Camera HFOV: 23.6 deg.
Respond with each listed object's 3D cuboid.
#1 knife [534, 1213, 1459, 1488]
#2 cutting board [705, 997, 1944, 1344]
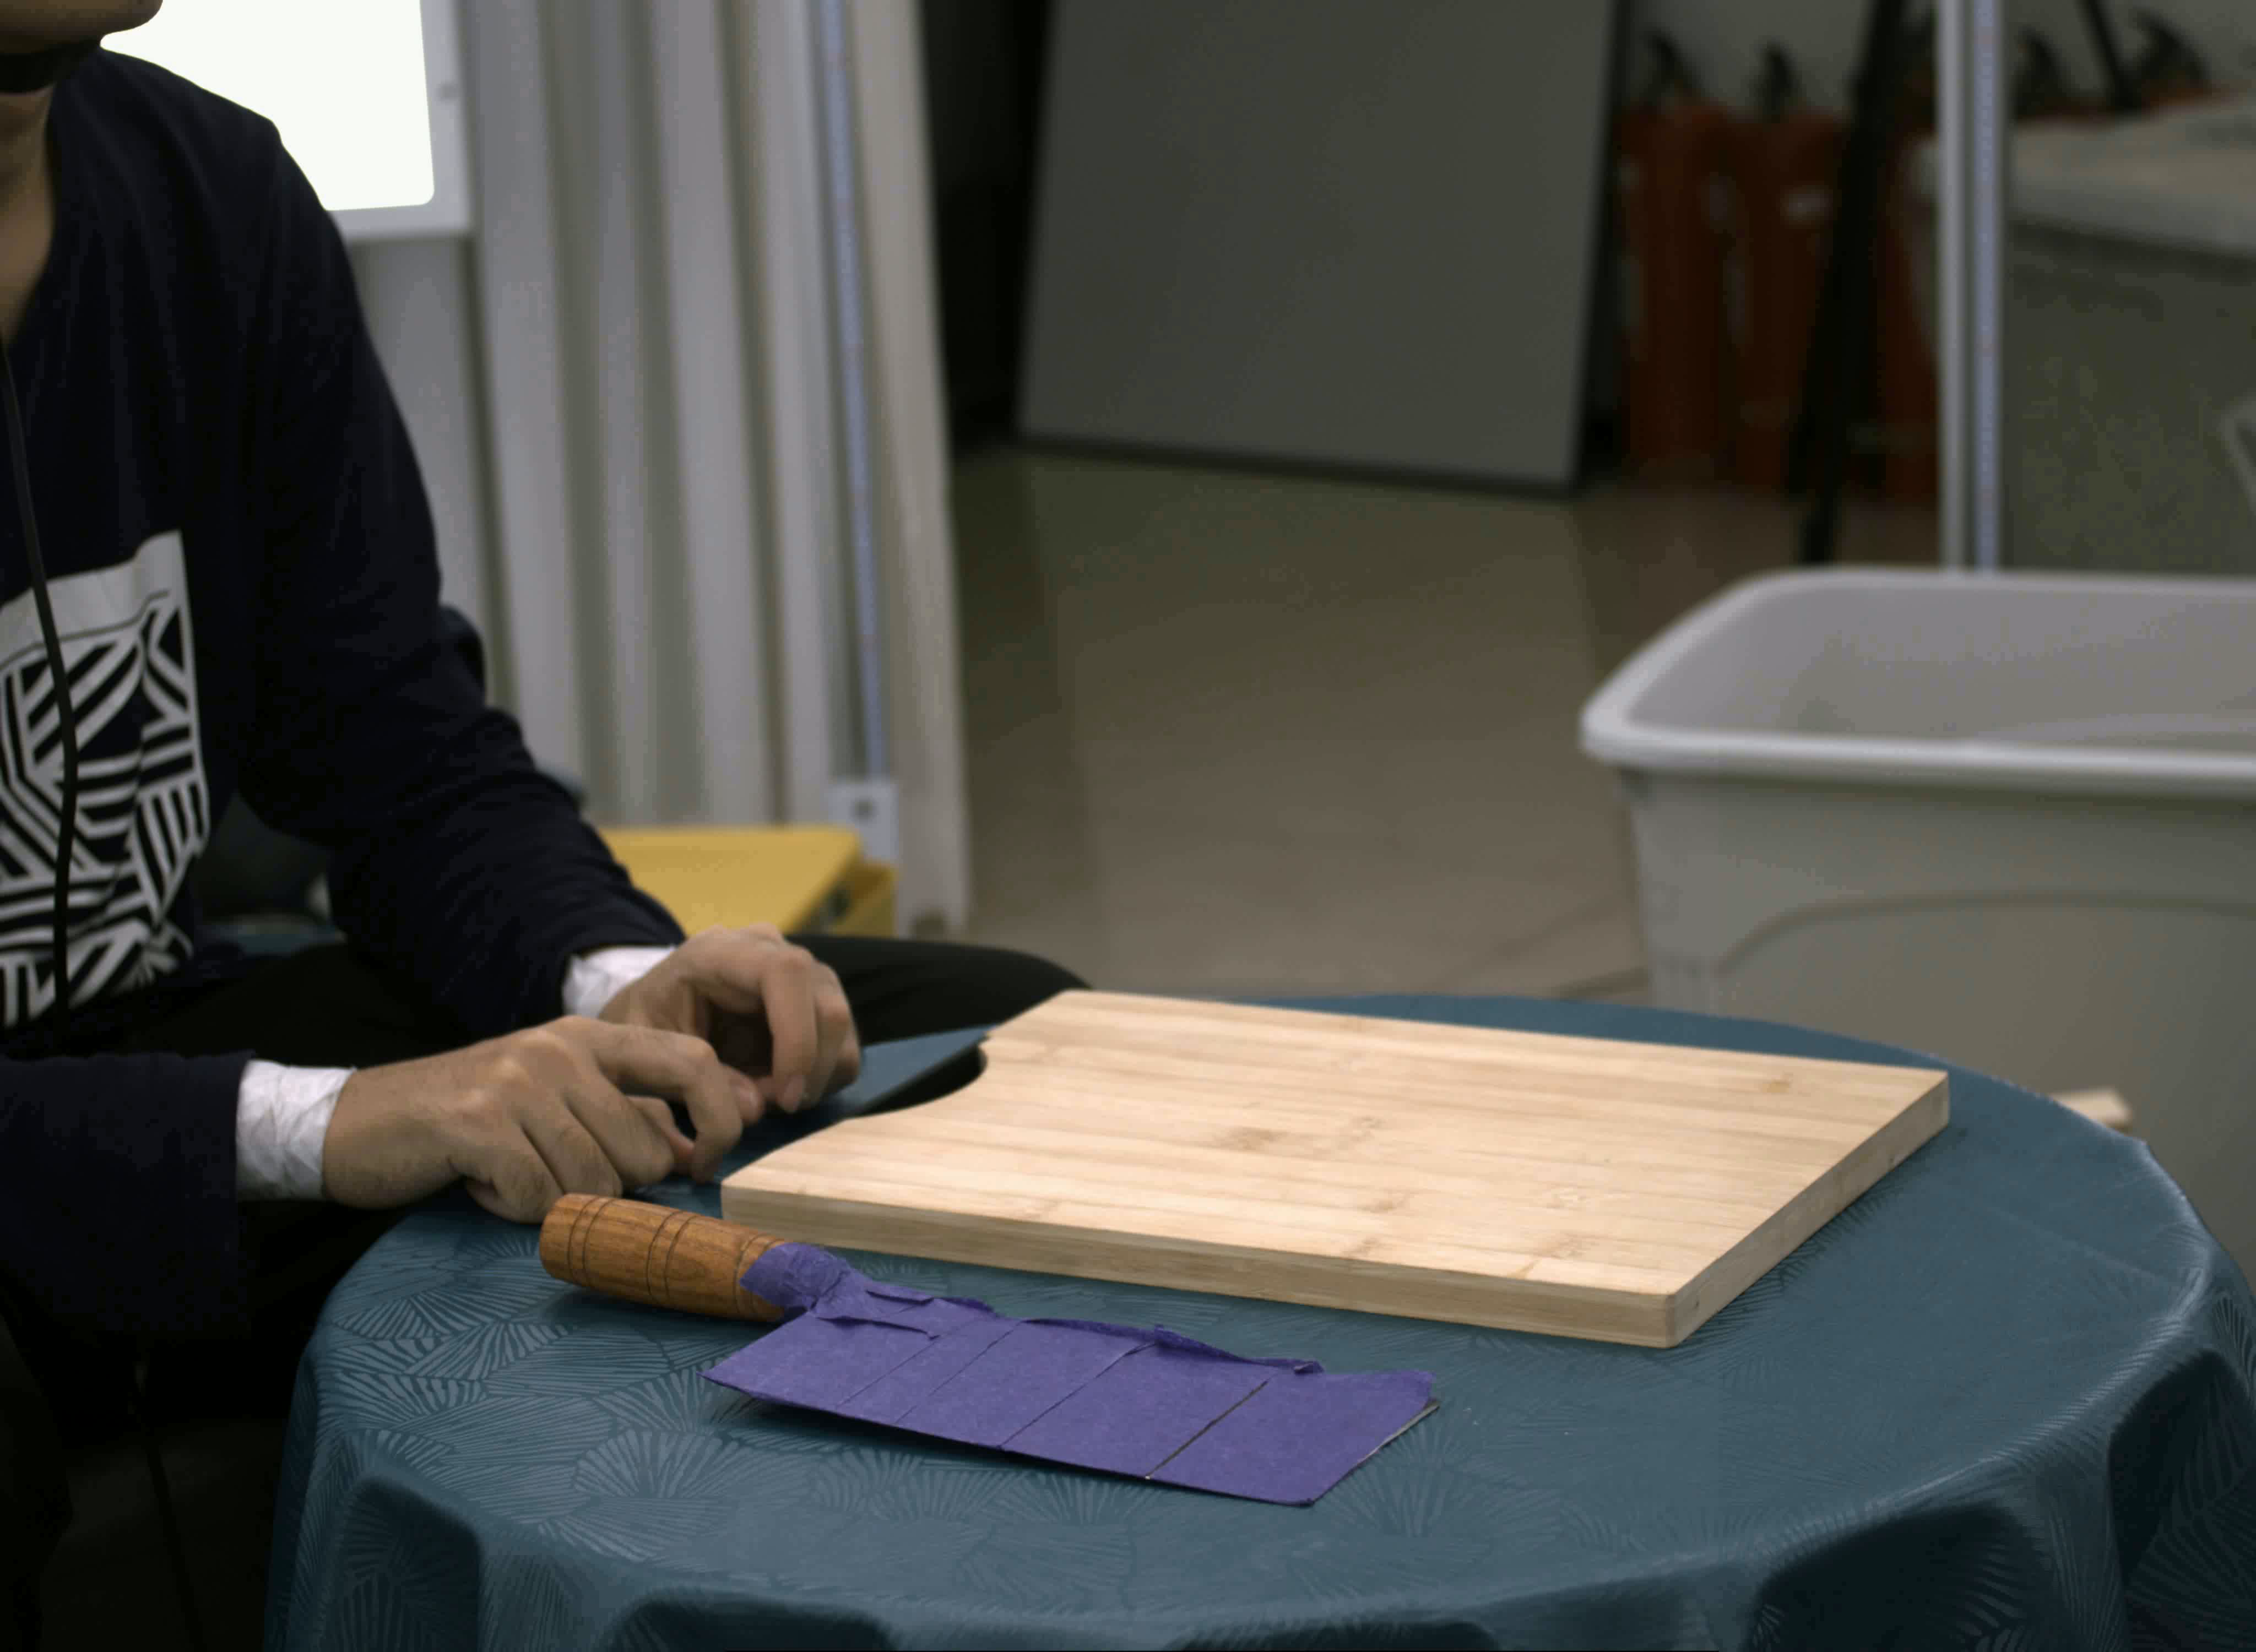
[{"bbox_3d":[-0.060,0.154,1.599,0.316,0.032,0.102,5,16,31],"label":"knife"},{"bbox_3d":[0.066,0.109,1.774,0.350,0.024,0.247,3,15,29],"label":"cutting board"}]
